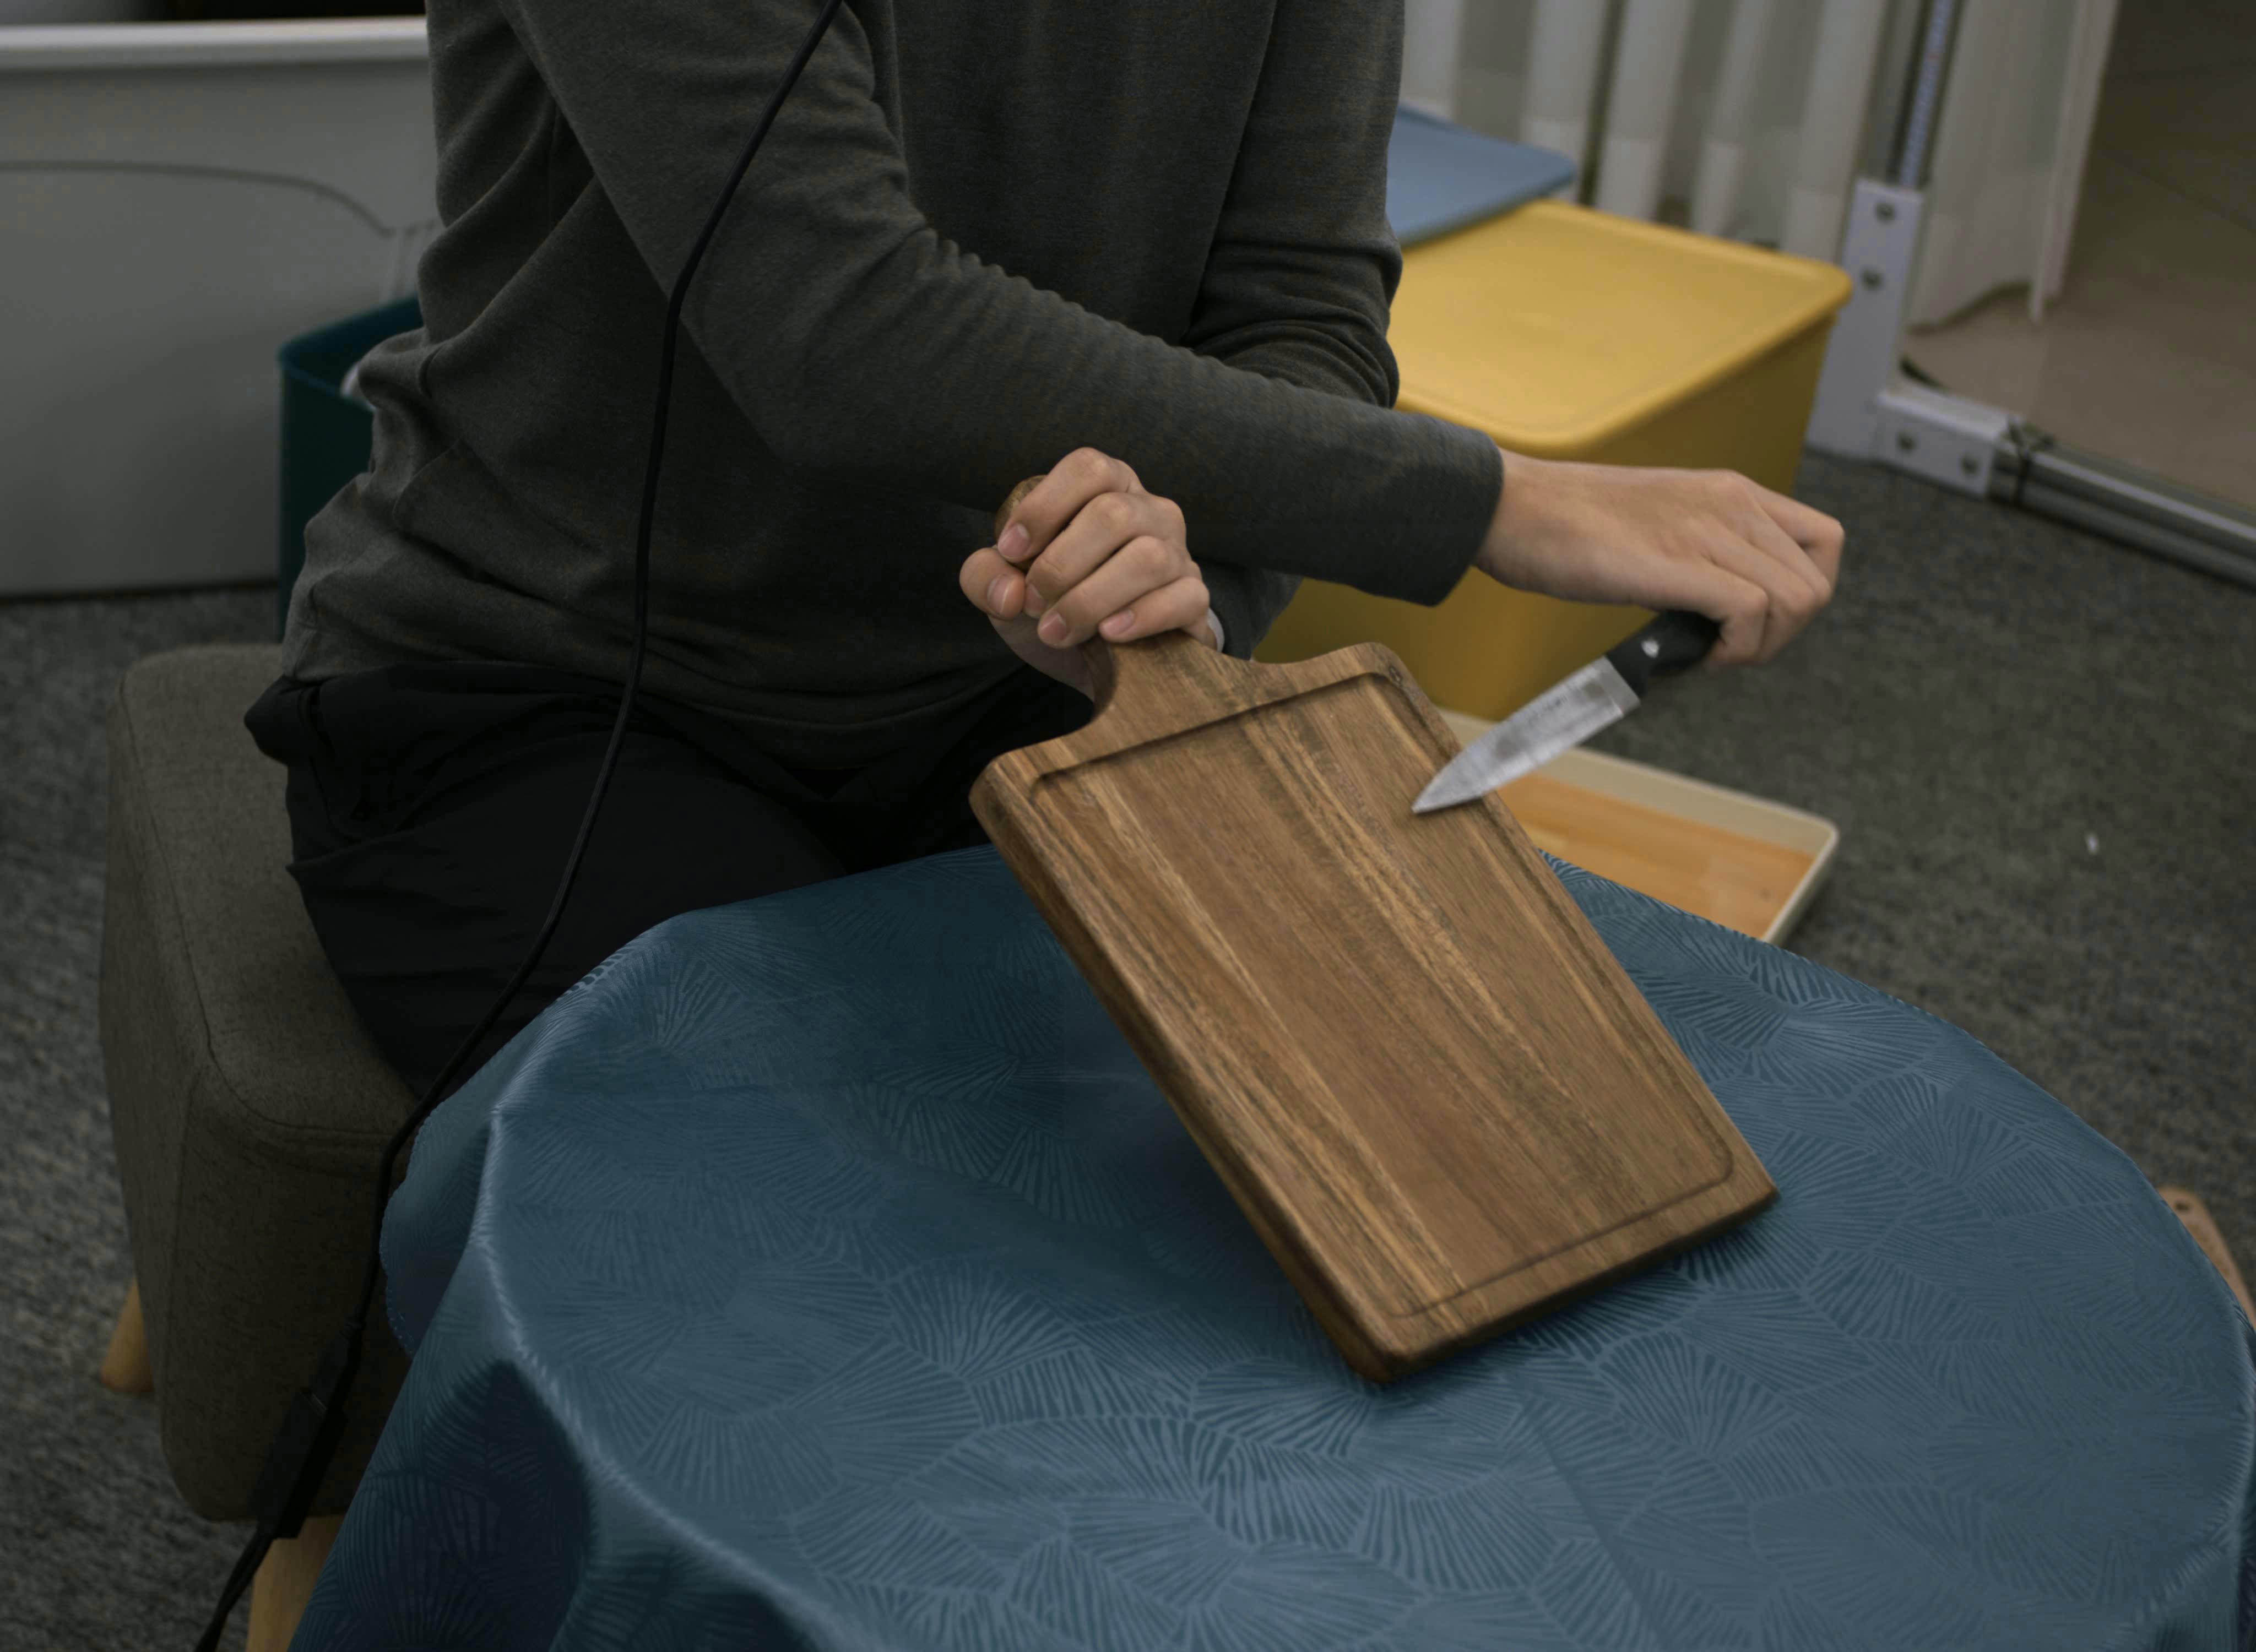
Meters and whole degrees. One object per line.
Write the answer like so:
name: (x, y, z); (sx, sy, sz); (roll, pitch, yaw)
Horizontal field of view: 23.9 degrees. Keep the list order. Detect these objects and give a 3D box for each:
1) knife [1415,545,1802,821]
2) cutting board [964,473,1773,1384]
knife: (0.173, -0.053, 1.932); (0.024, 0.016, 0.237); (47, 47, 11)
cutting board: (0.056, 0.017, 1.822); (0.200, 0.023, 0.354); (-18, 64, -40)
